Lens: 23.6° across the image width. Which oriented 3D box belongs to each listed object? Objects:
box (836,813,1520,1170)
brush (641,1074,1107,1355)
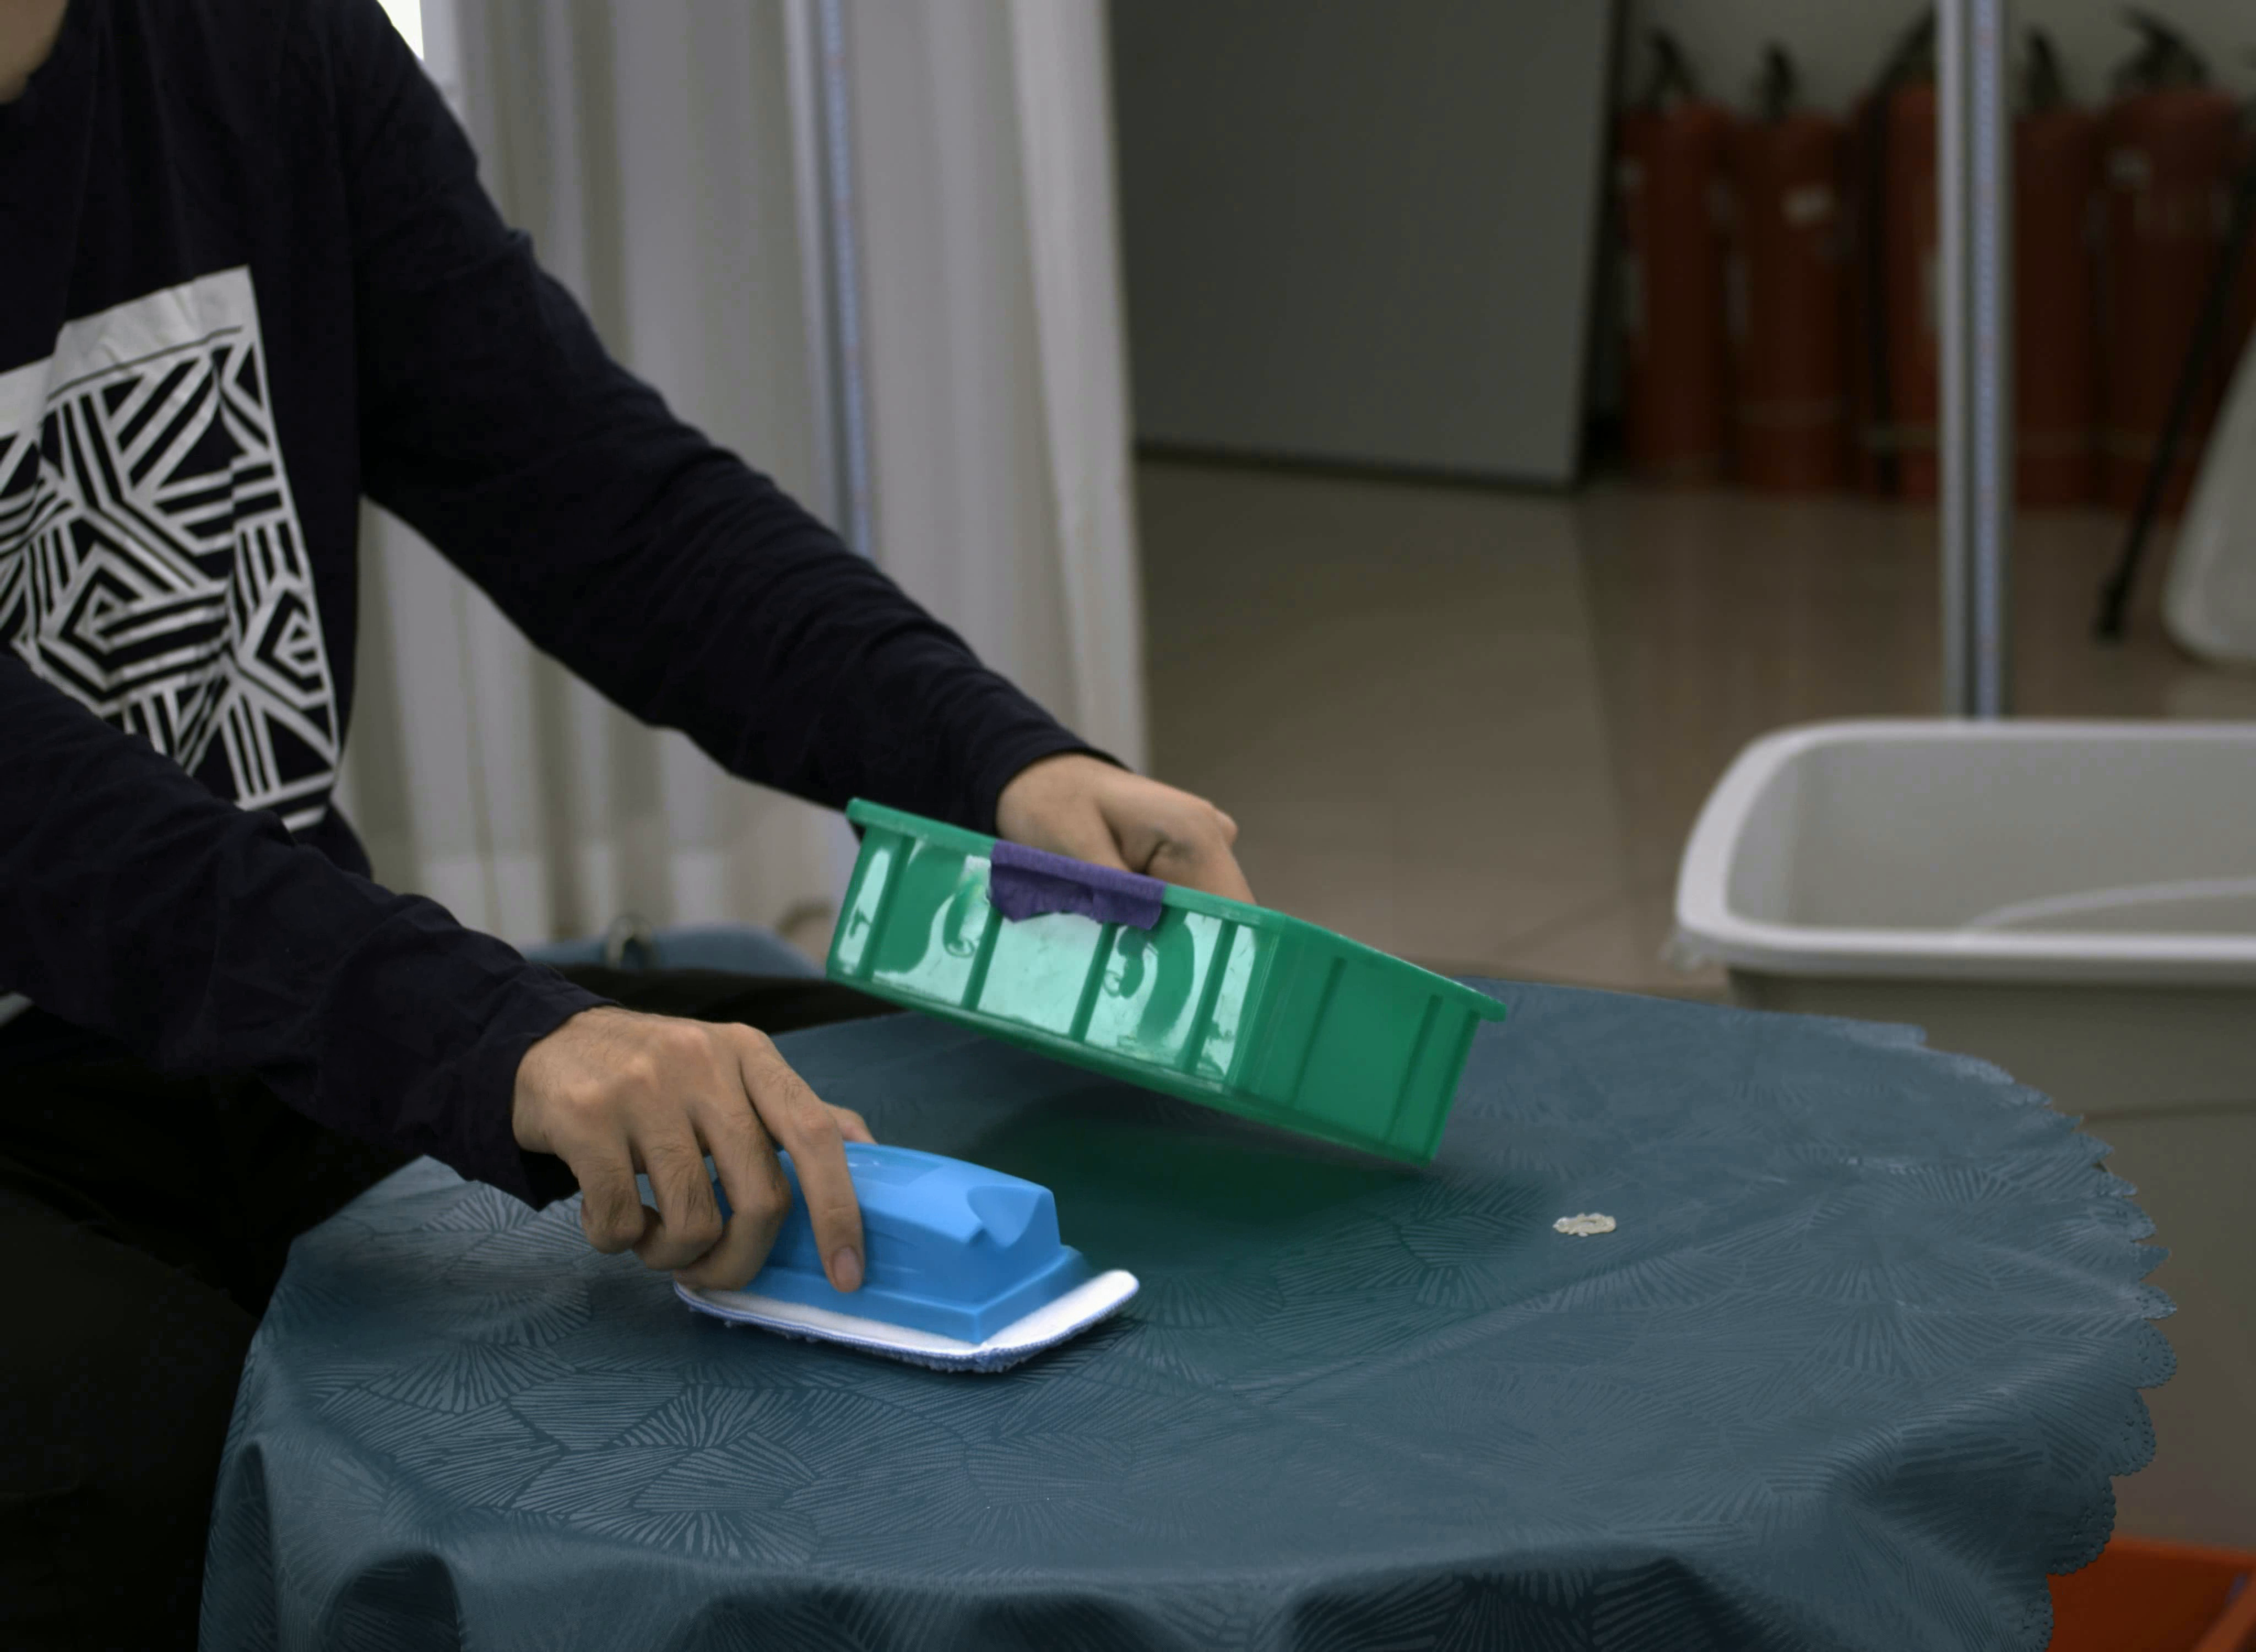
[{"bbox_3d":[0.011,0.056,1.781,0.212,0.066,0.136,13,-5,39],"label":"box"},{"bbox_3d":[-0.078,0.116,1.659,0.145,0.056,0.082,19,29,37],"label":"brush"}]
